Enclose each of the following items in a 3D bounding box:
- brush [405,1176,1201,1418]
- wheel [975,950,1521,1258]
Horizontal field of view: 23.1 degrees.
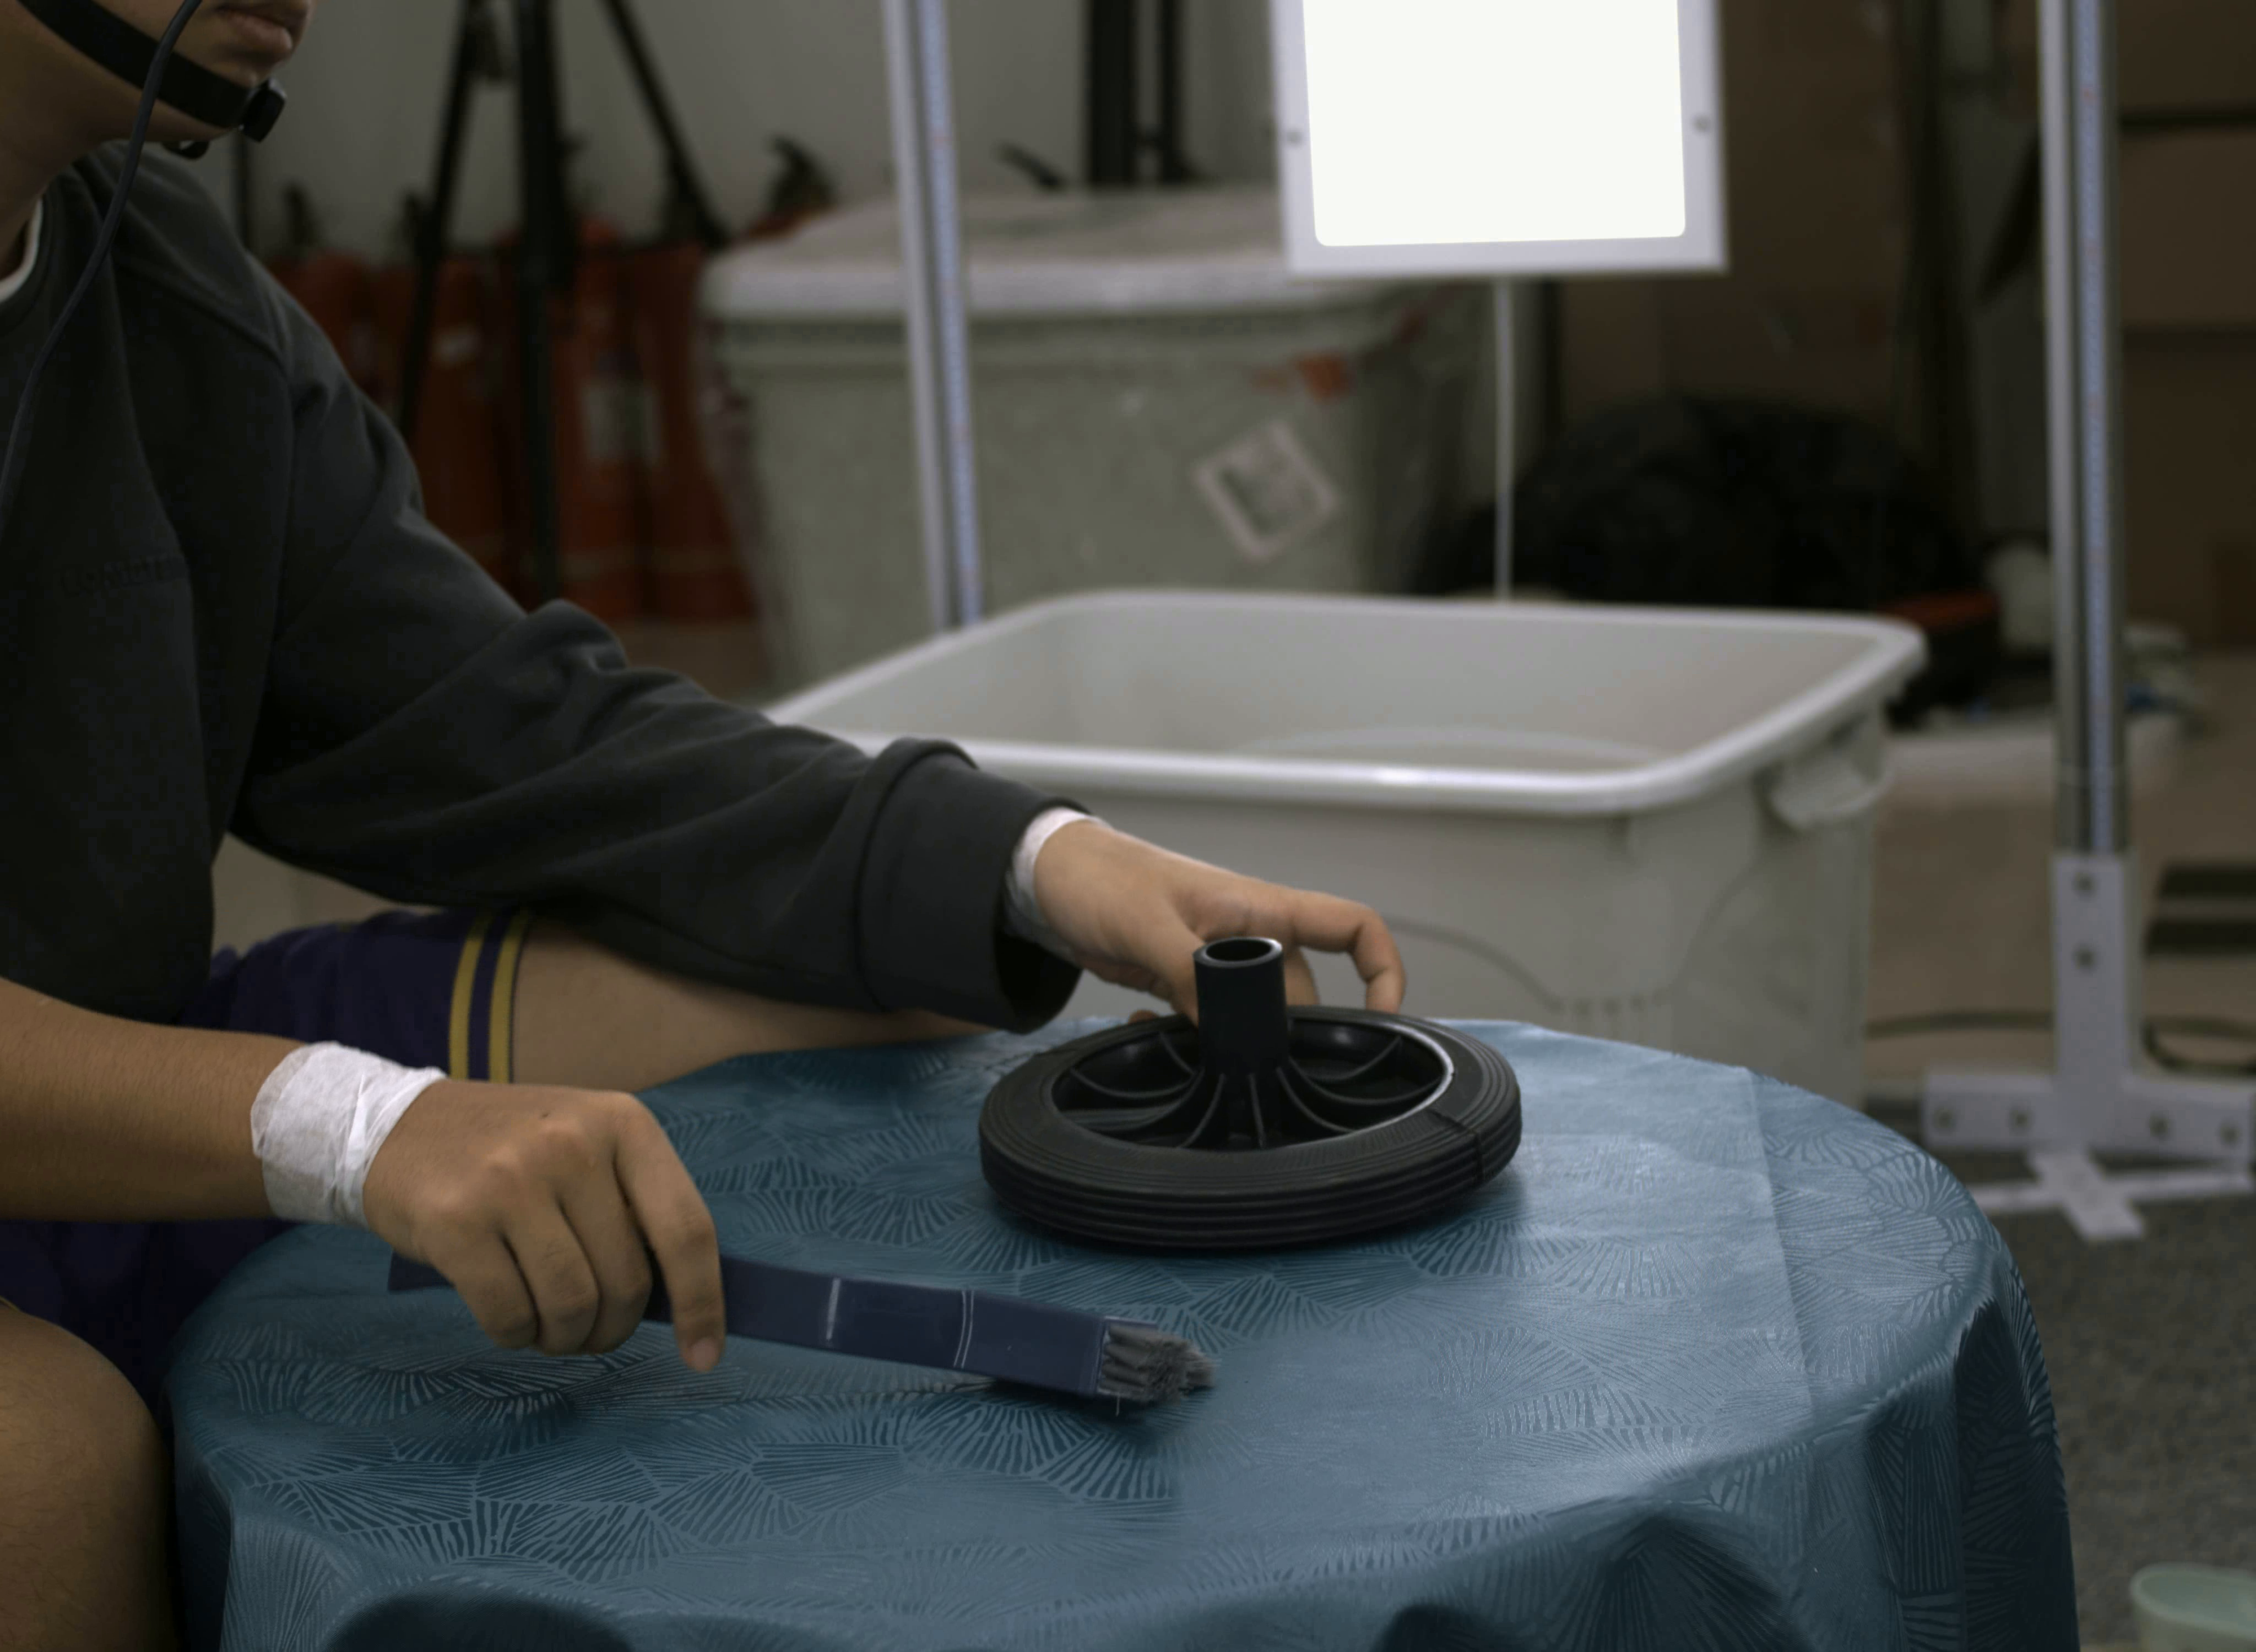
[{"bbox_3d":[-0.110,0.146,1.719,0.276,0.033,0.094,8,0,17],"label":"brush"},{"bbox_3d":[0.040,0.085,1.891,0.187,0.079,0.189,-11,19,-16],"label":"wheel"}]
